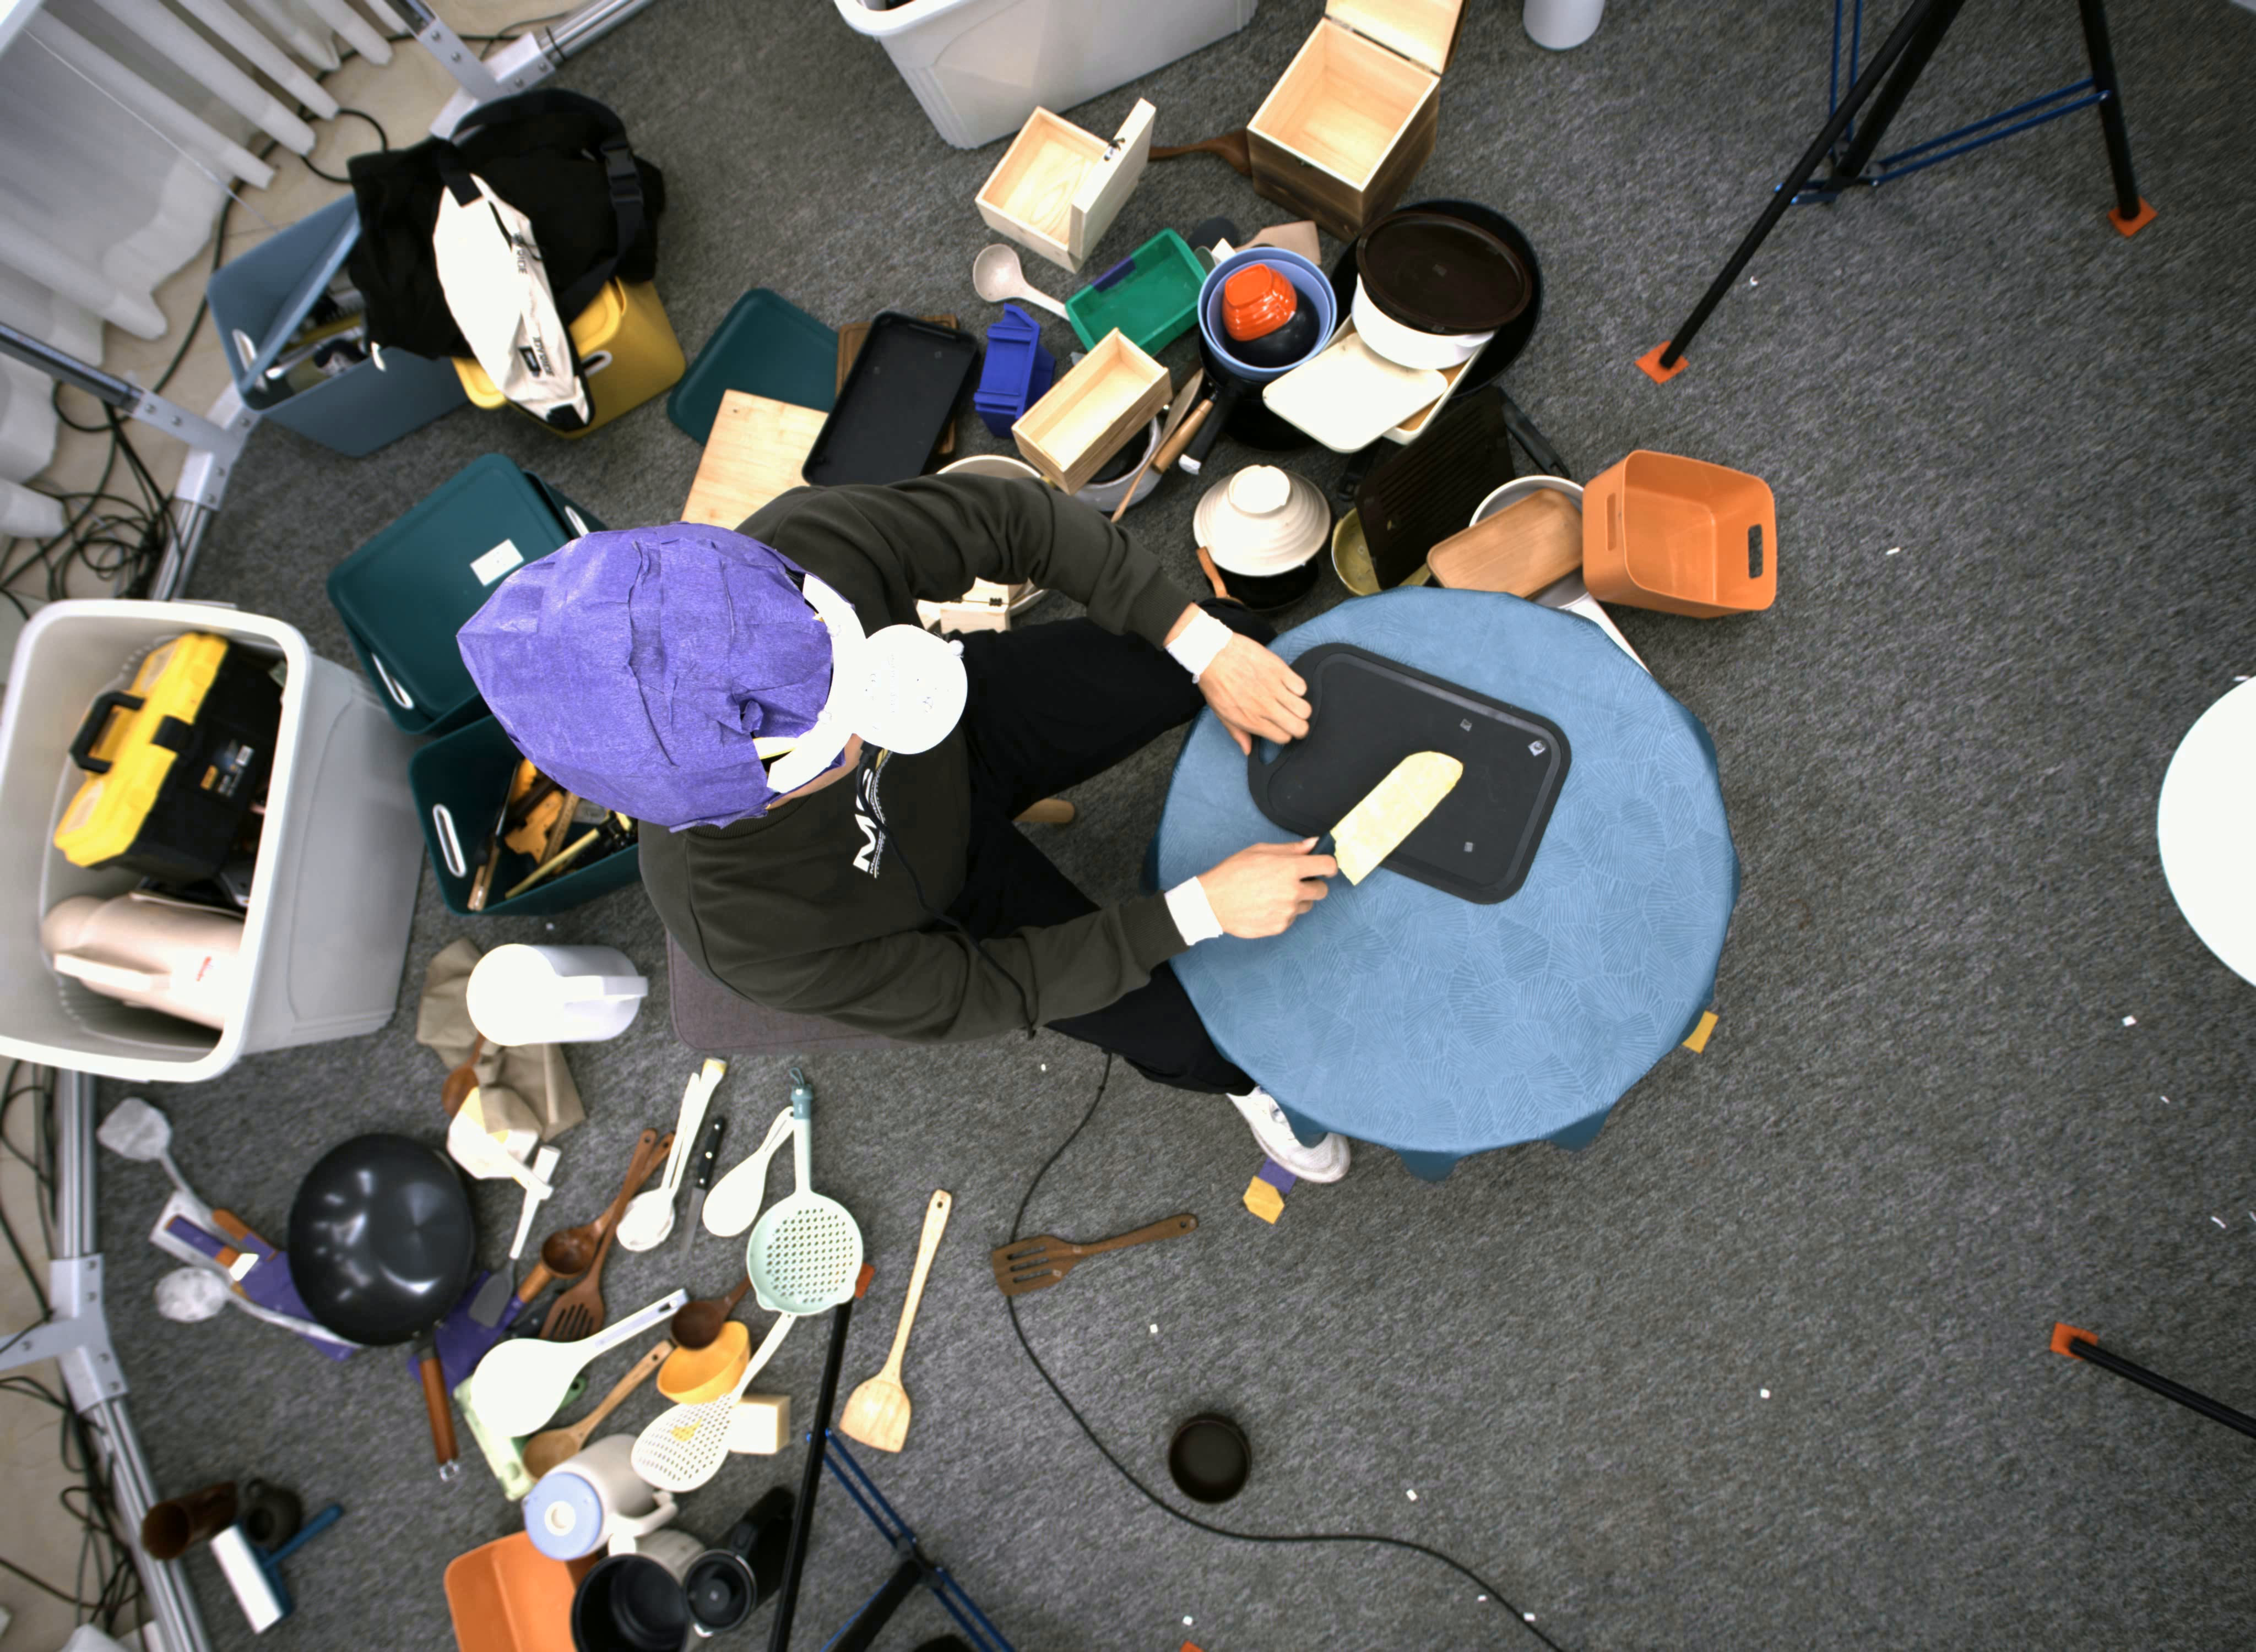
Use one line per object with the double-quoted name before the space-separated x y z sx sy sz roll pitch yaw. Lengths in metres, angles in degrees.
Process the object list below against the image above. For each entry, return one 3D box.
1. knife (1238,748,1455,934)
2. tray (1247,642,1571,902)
"knife" 0.231 0.018 1.430 0.289 0.027 0.082 -40 118 -1
"tray" 0.289 -0.063 1.456 0.325 0.010 0.211 22 91 9
